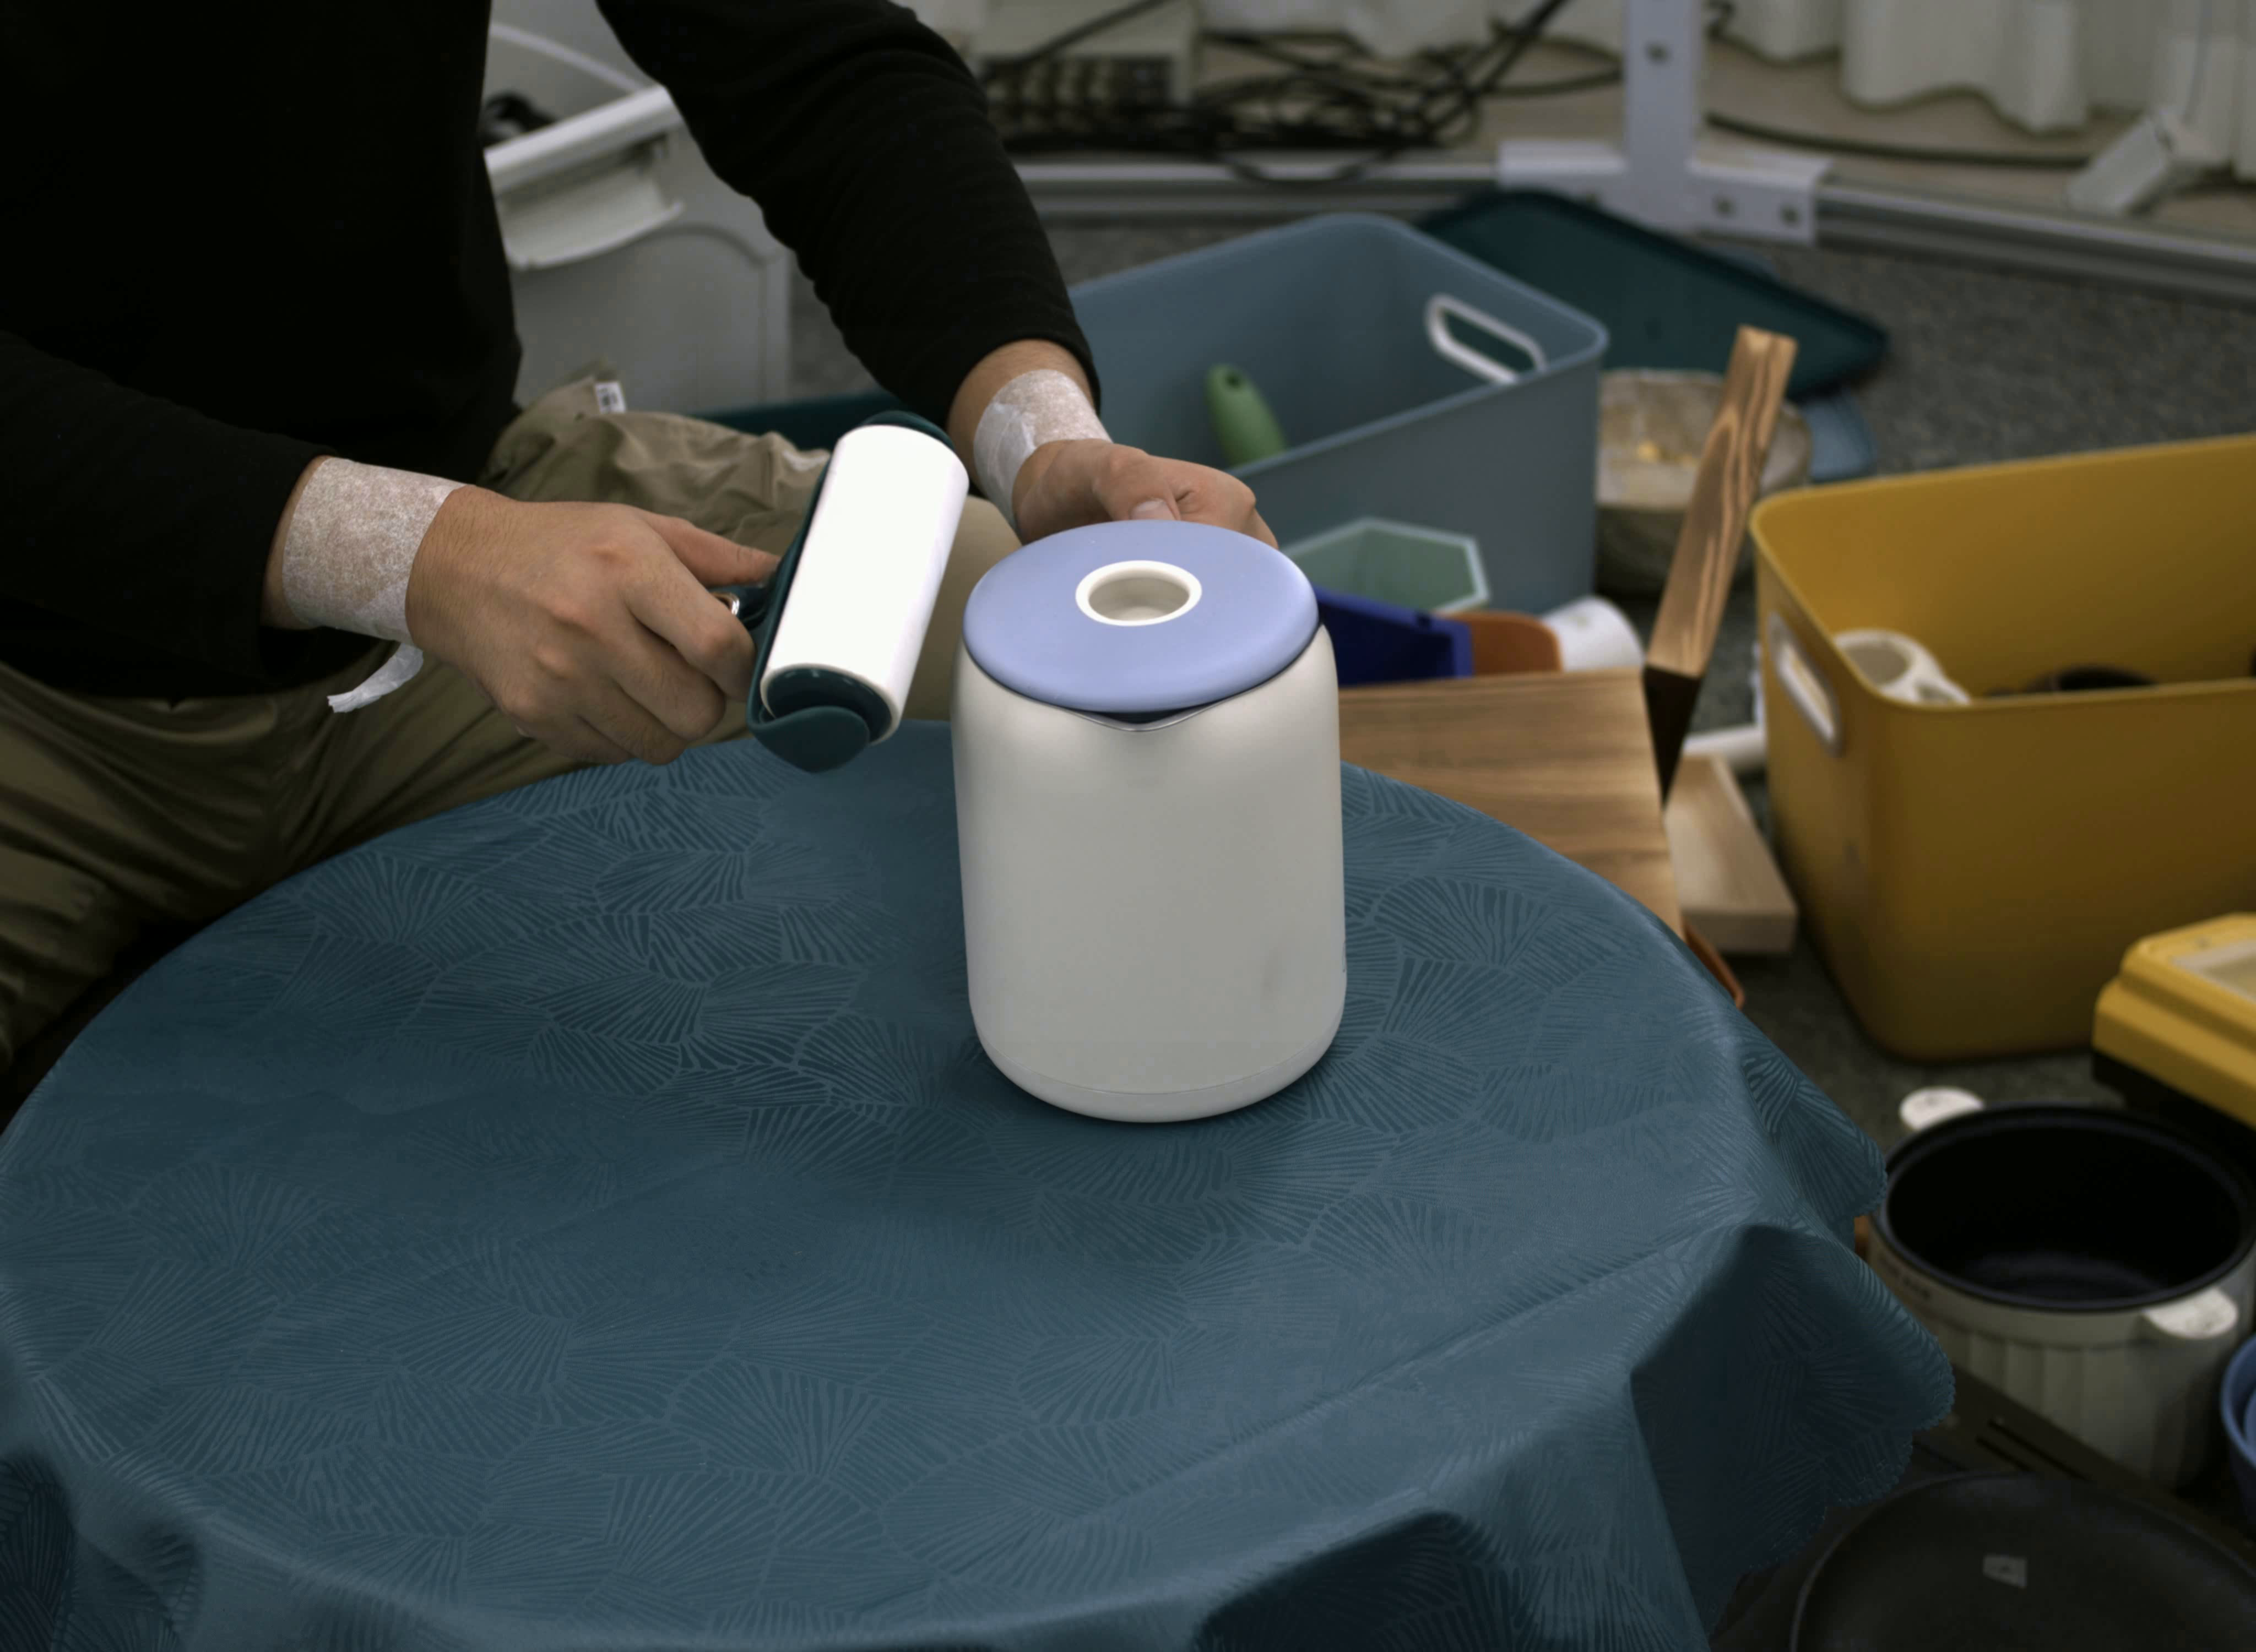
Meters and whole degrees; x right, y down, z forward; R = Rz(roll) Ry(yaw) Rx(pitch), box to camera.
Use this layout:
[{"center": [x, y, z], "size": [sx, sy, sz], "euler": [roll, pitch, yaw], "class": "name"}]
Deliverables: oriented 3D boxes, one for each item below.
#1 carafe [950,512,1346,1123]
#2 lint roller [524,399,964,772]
[{"center": [0.007, -0.016, 1.927], "size": [0.131, 0.180, 0.194], "euler": [-3, 30, -1], "class": "carafe"}, {"center": [-0.143, -0.070, 1.898], "size": [0.178, 0.048, 0.137], "euler": [-9, 49, 31], "class": "lint roller"}]
